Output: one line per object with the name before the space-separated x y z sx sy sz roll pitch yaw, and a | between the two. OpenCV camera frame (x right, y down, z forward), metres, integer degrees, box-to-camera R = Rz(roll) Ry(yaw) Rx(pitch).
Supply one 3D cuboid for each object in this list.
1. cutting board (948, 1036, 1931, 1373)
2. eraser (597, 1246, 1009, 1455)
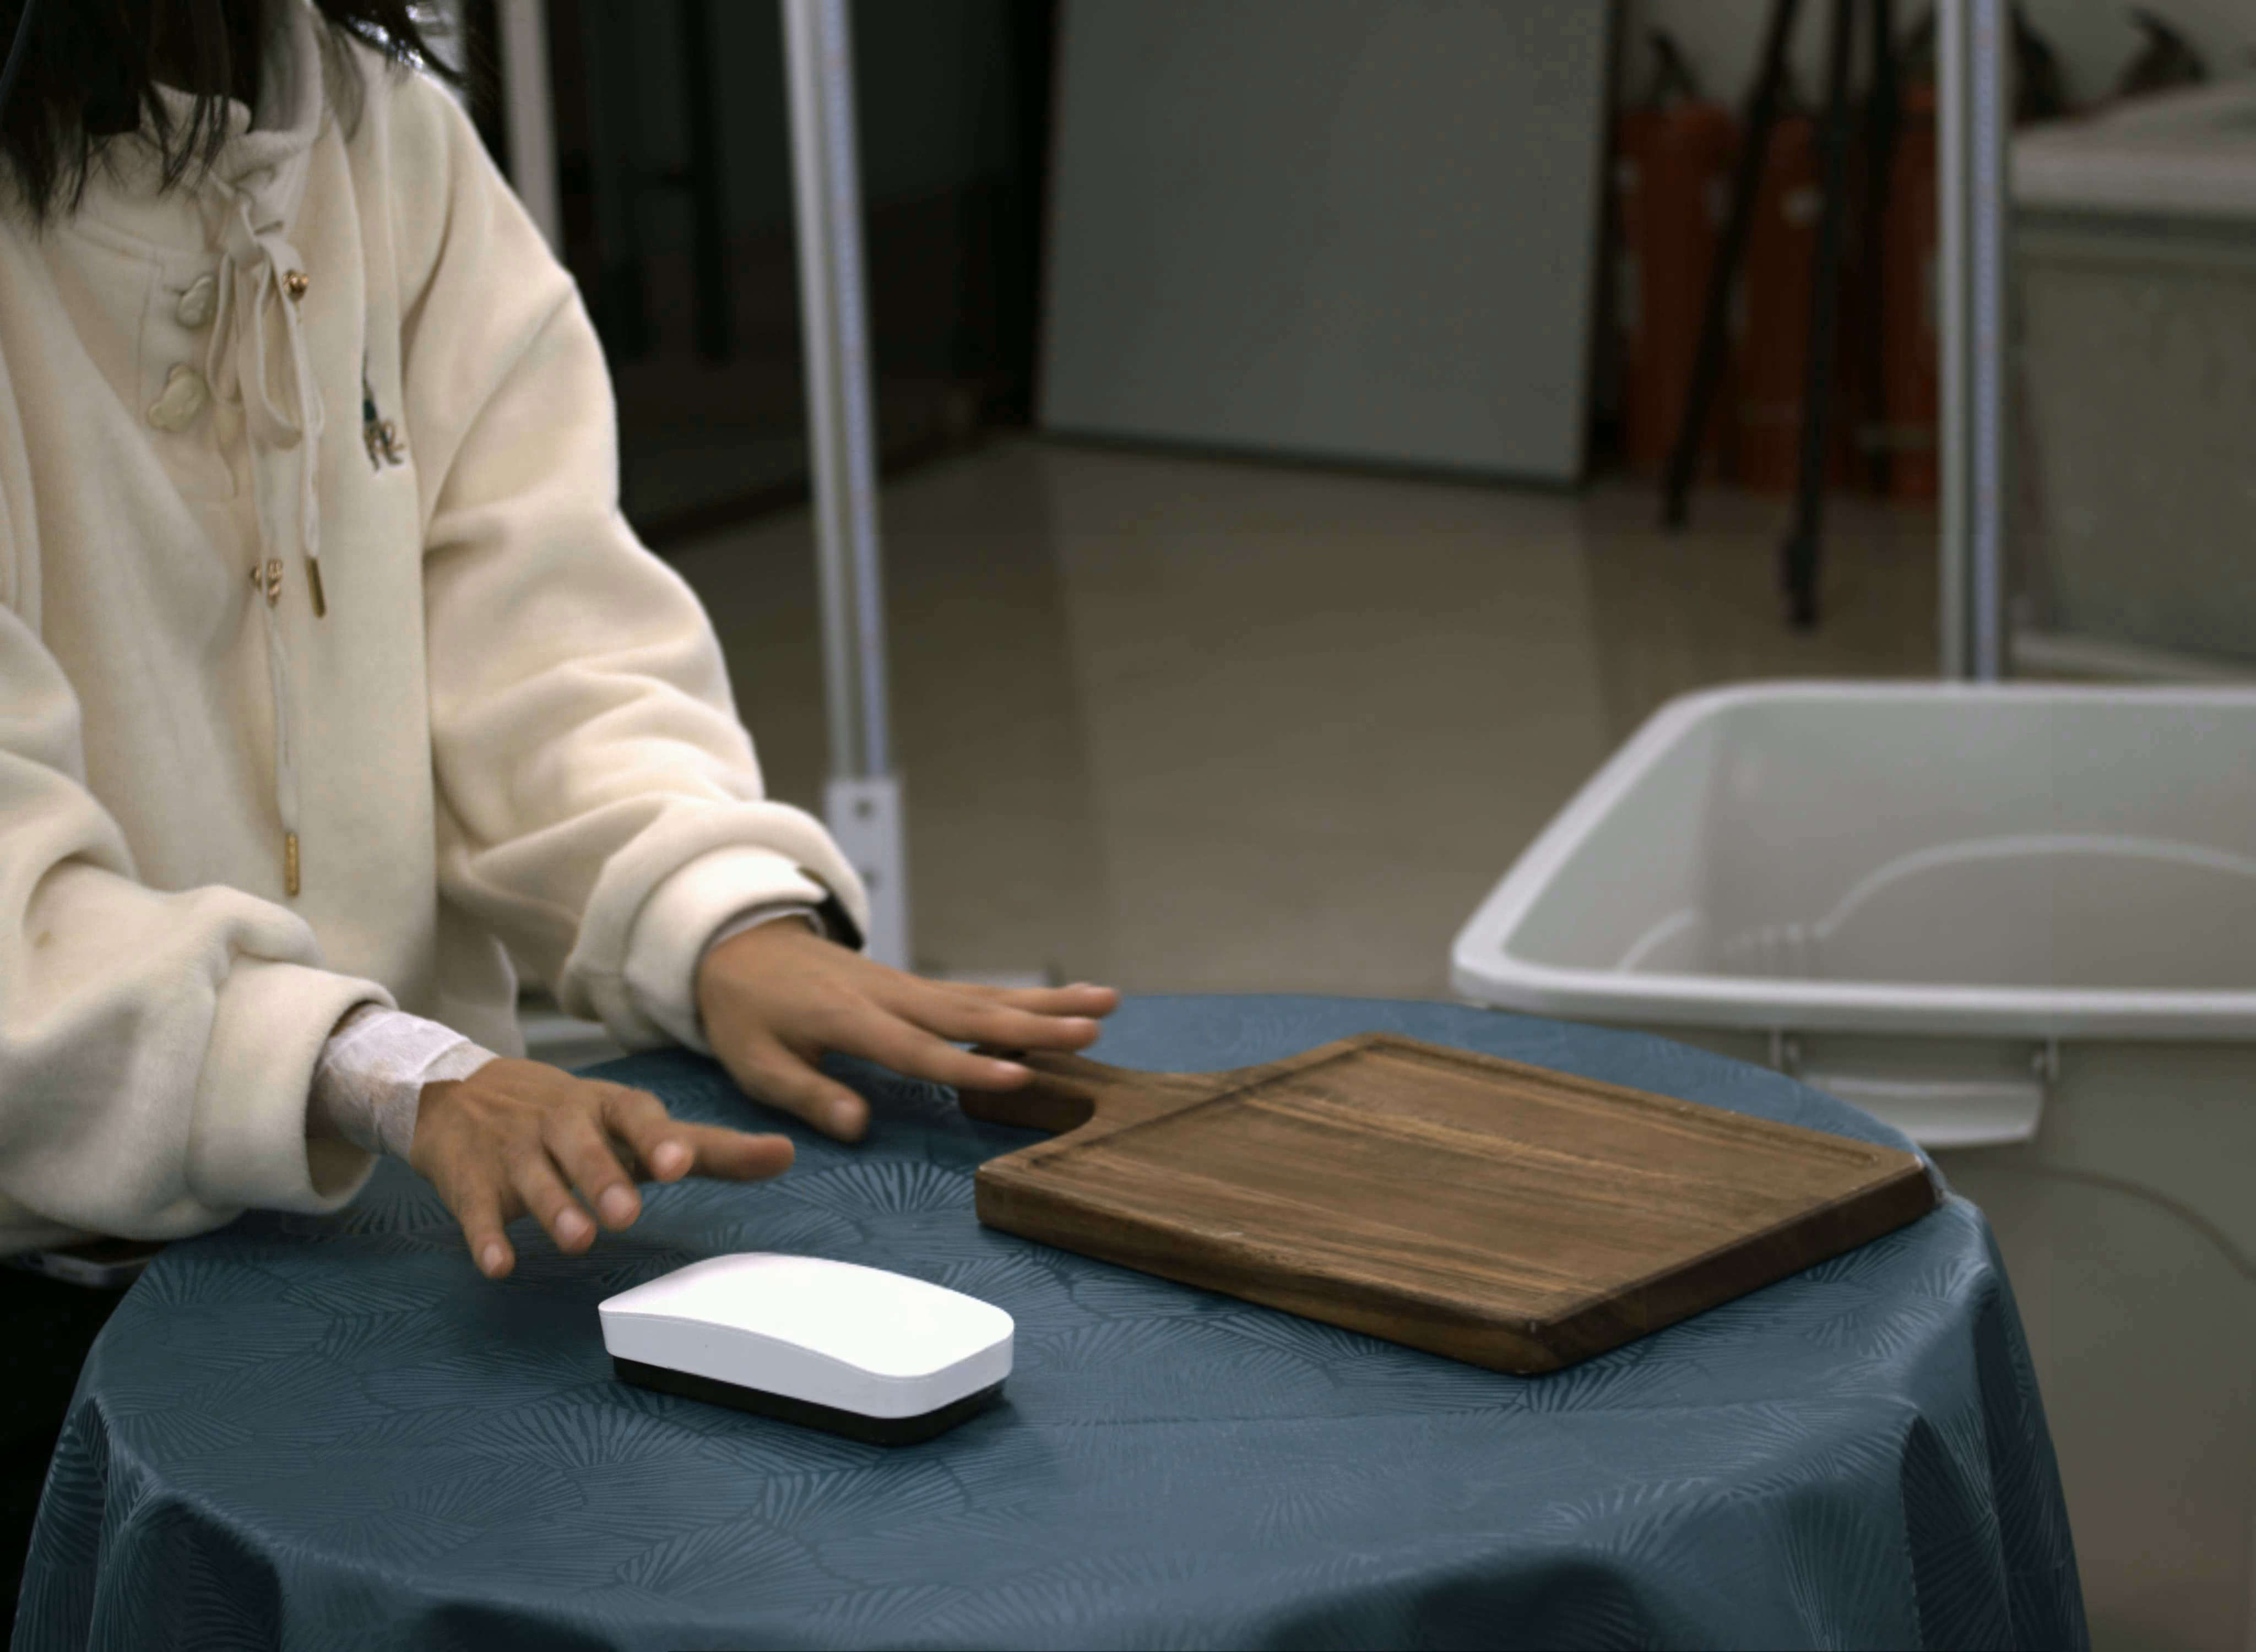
cutting board | 0.068 0.110 1.751 0.197 0.023 0.355 -16 18 -41
eraser | -0.096 0.153 1.604 0.132 0.035 0.062 9 20 41
